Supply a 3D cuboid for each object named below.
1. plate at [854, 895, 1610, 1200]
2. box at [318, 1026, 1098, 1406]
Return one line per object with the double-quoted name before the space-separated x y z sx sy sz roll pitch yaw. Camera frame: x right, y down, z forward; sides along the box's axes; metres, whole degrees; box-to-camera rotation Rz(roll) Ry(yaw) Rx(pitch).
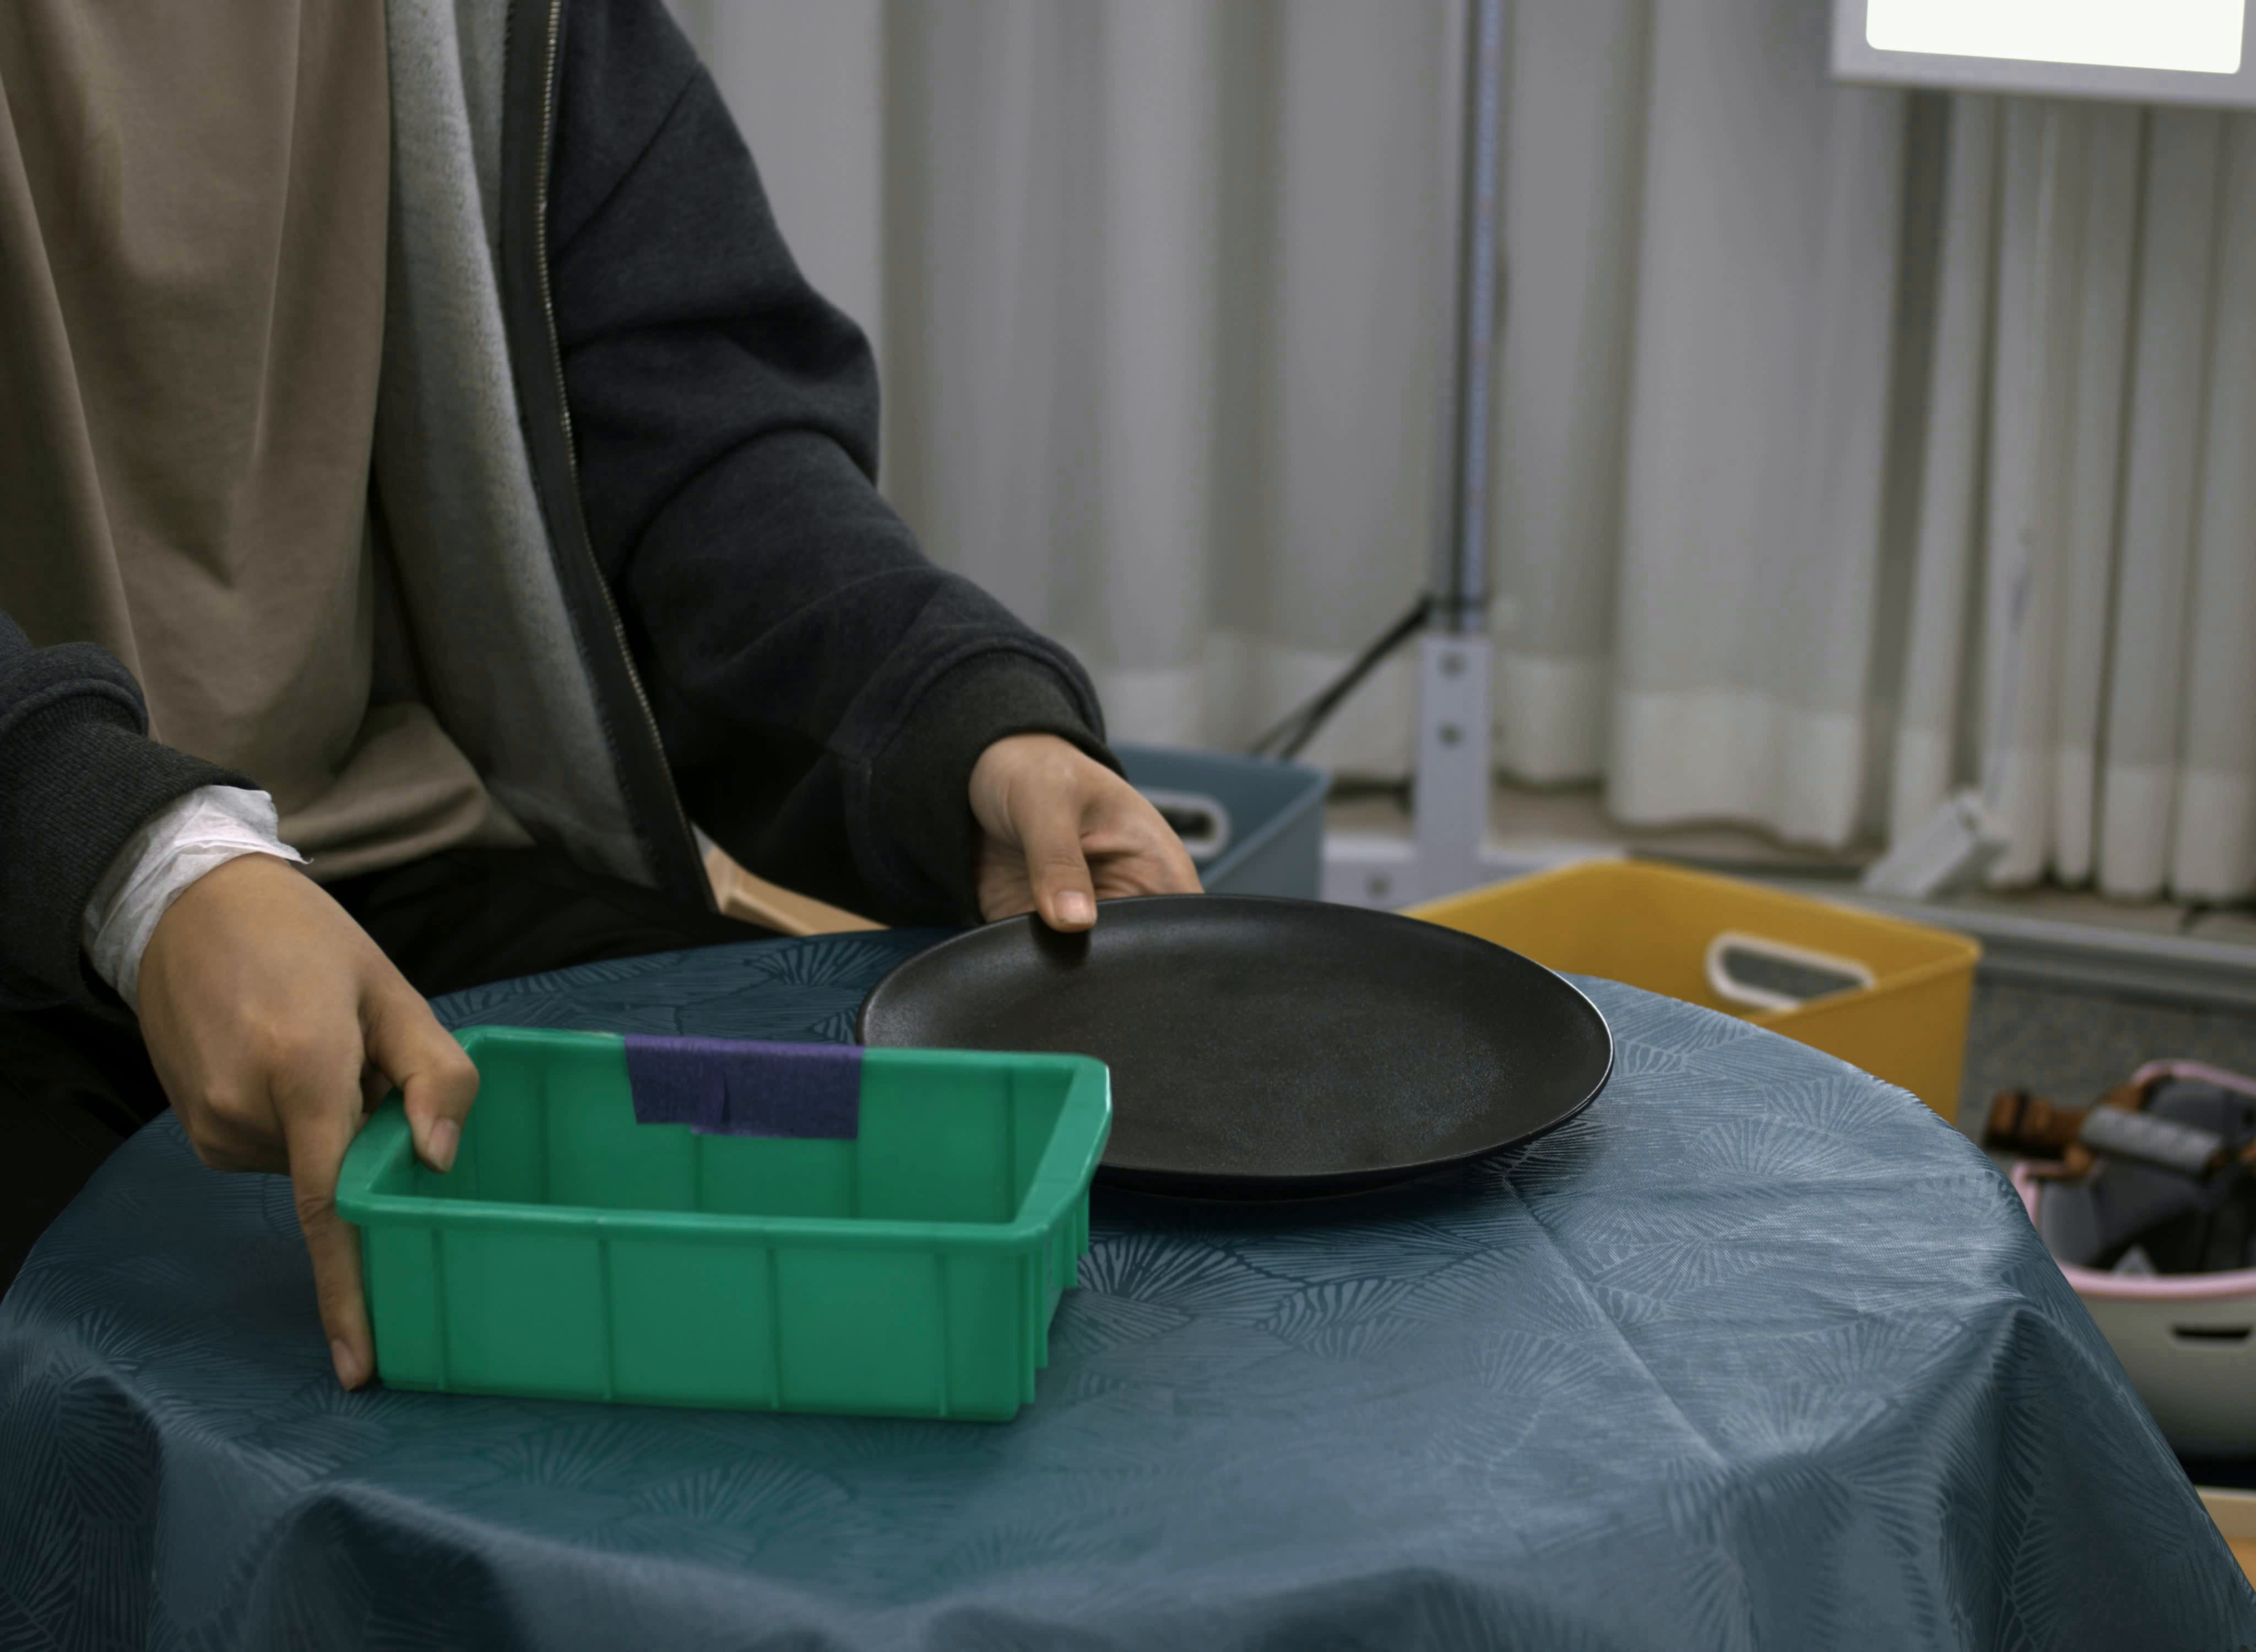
"plate" 0.033 0.074 1.693 0.243 0.023 0.243 2 20 0
"box" -0.114 0.110 1.489 0.209 0.066 0.138 0 18 7
